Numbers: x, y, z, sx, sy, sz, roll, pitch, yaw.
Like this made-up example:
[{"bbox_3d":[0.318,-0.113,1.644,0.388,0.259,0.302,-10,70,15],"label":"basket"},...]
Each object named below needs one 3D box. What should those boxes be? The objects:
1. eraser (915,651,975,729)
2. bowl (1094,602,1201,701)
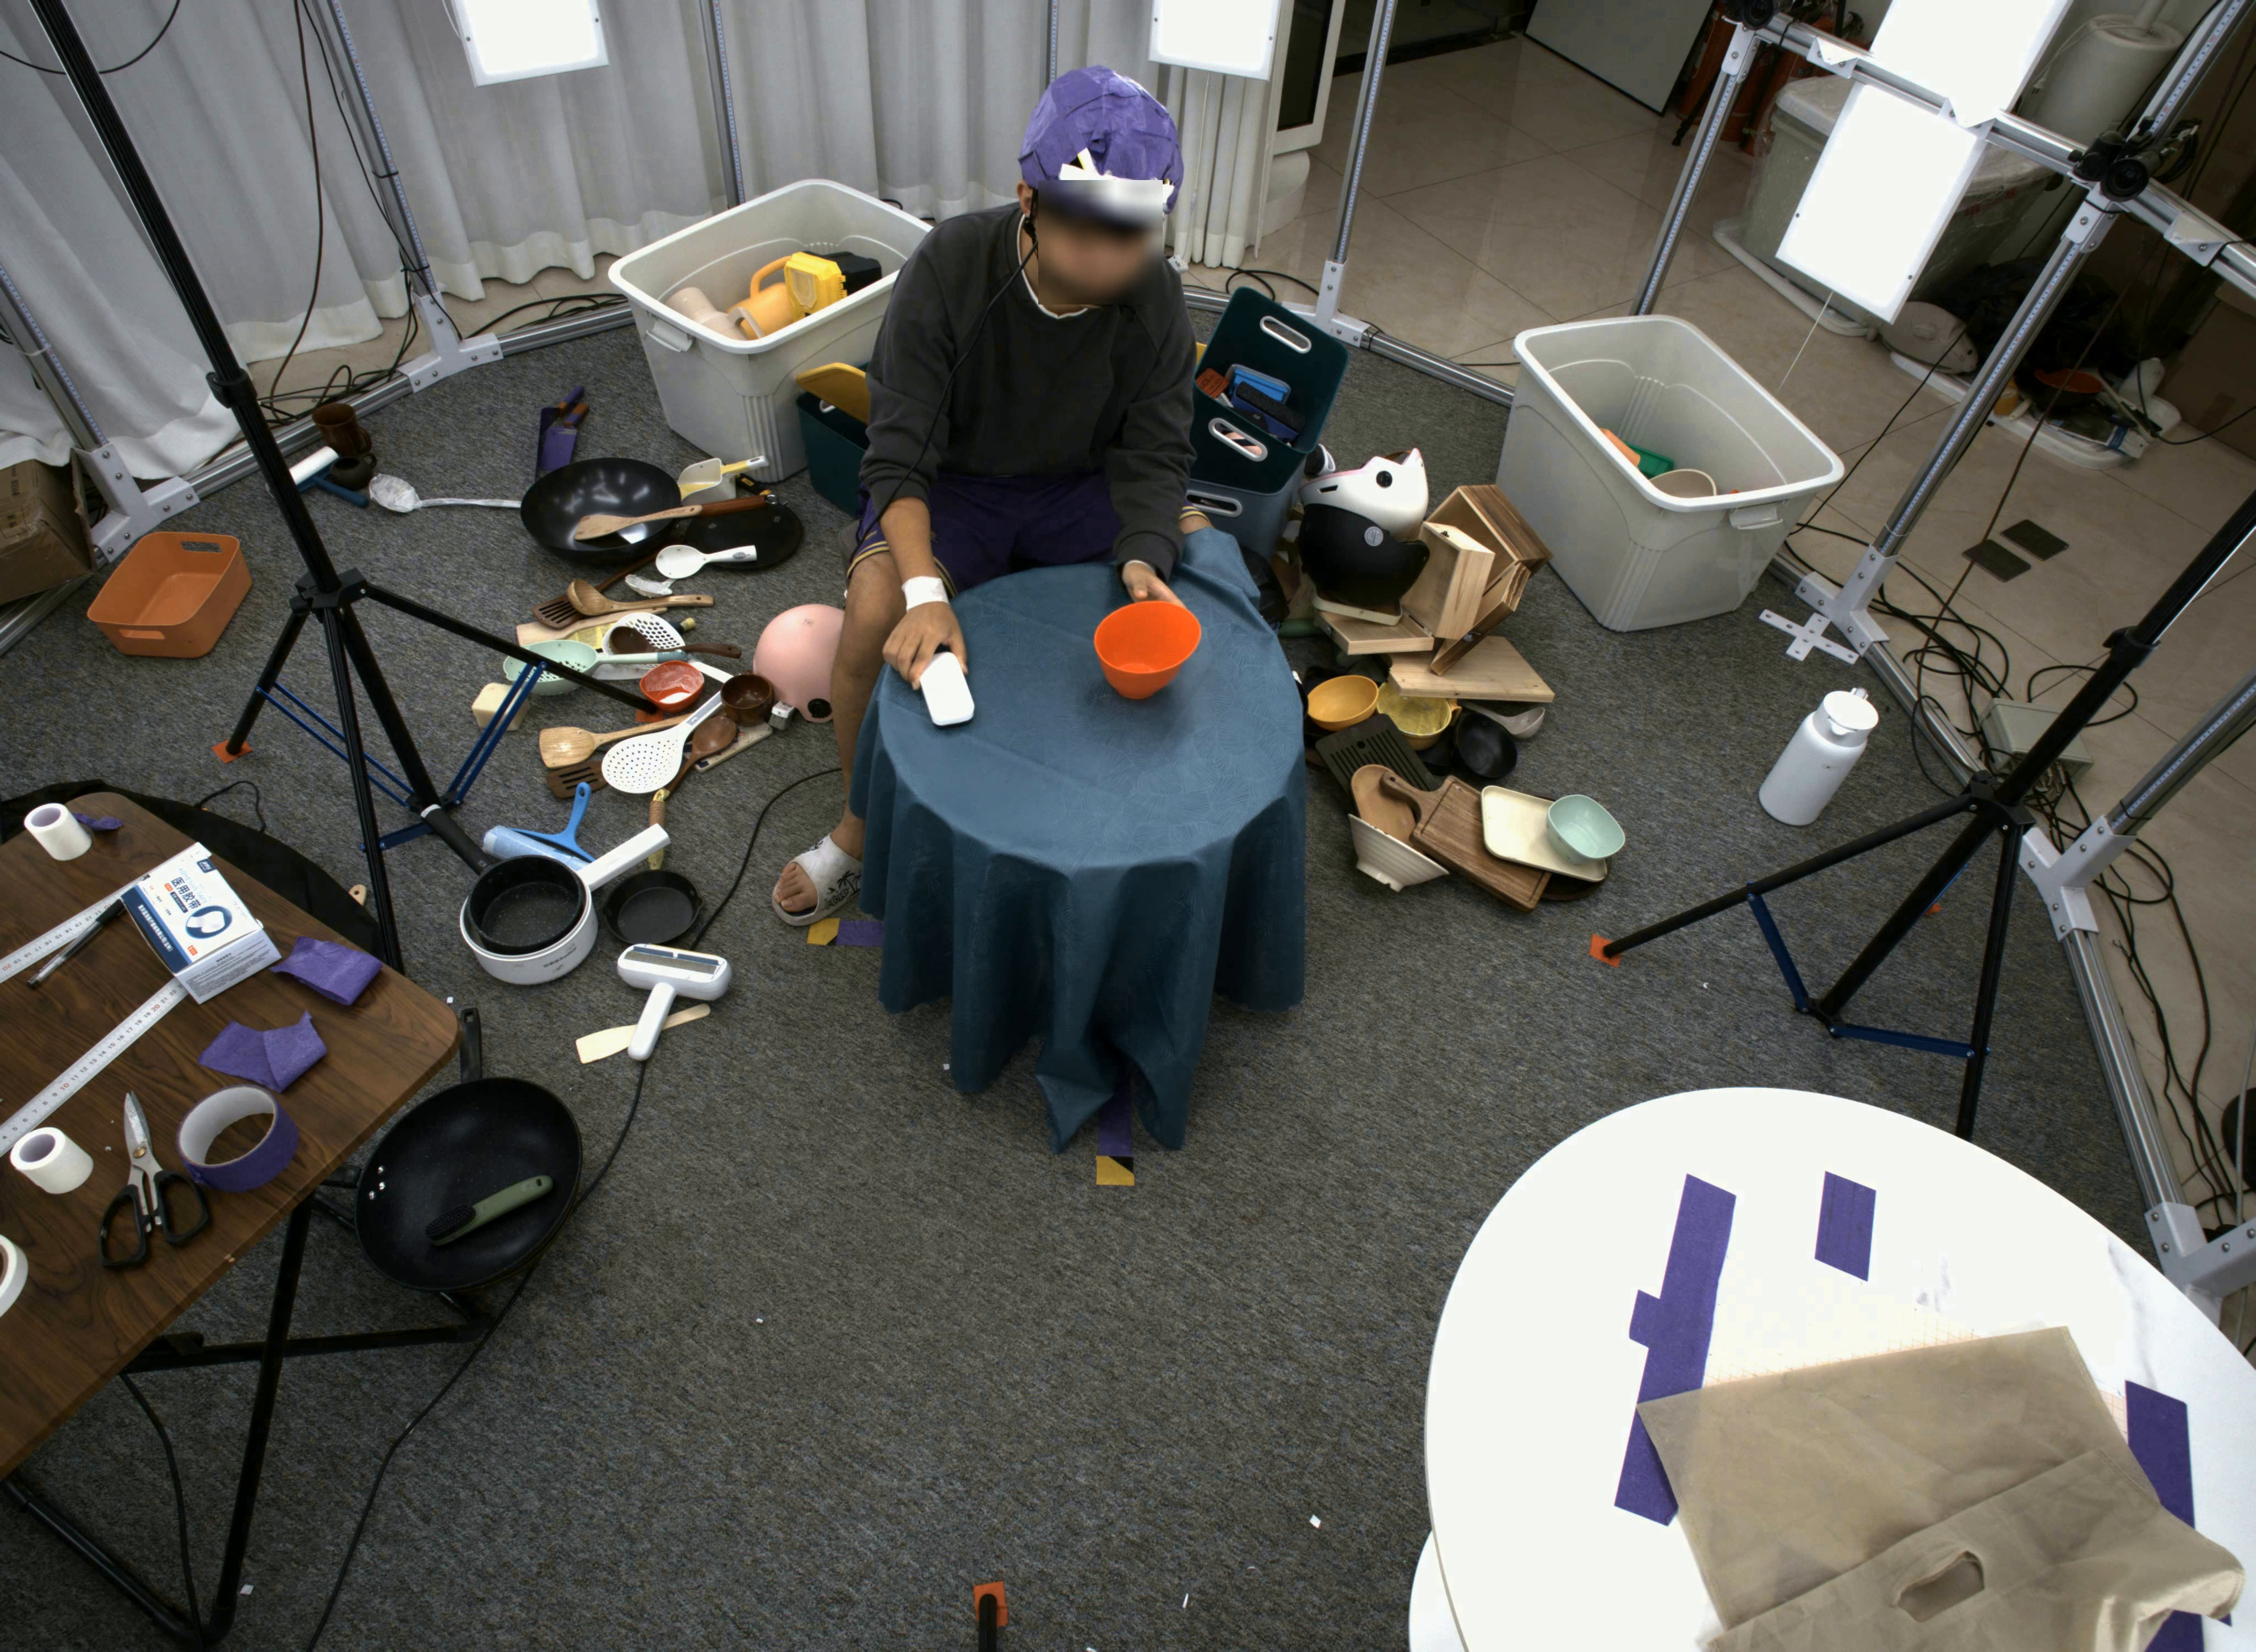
[{"bbox_3d":[-0.255,-0.194,1.796,0.063,0.034,0.134,-11,52,-14],"label":"eraser"},{"bbox_3d":[0.025,-0.236,1.809,0.148,0.102,0.152,1,49,-2],"label":"bowl"}]
